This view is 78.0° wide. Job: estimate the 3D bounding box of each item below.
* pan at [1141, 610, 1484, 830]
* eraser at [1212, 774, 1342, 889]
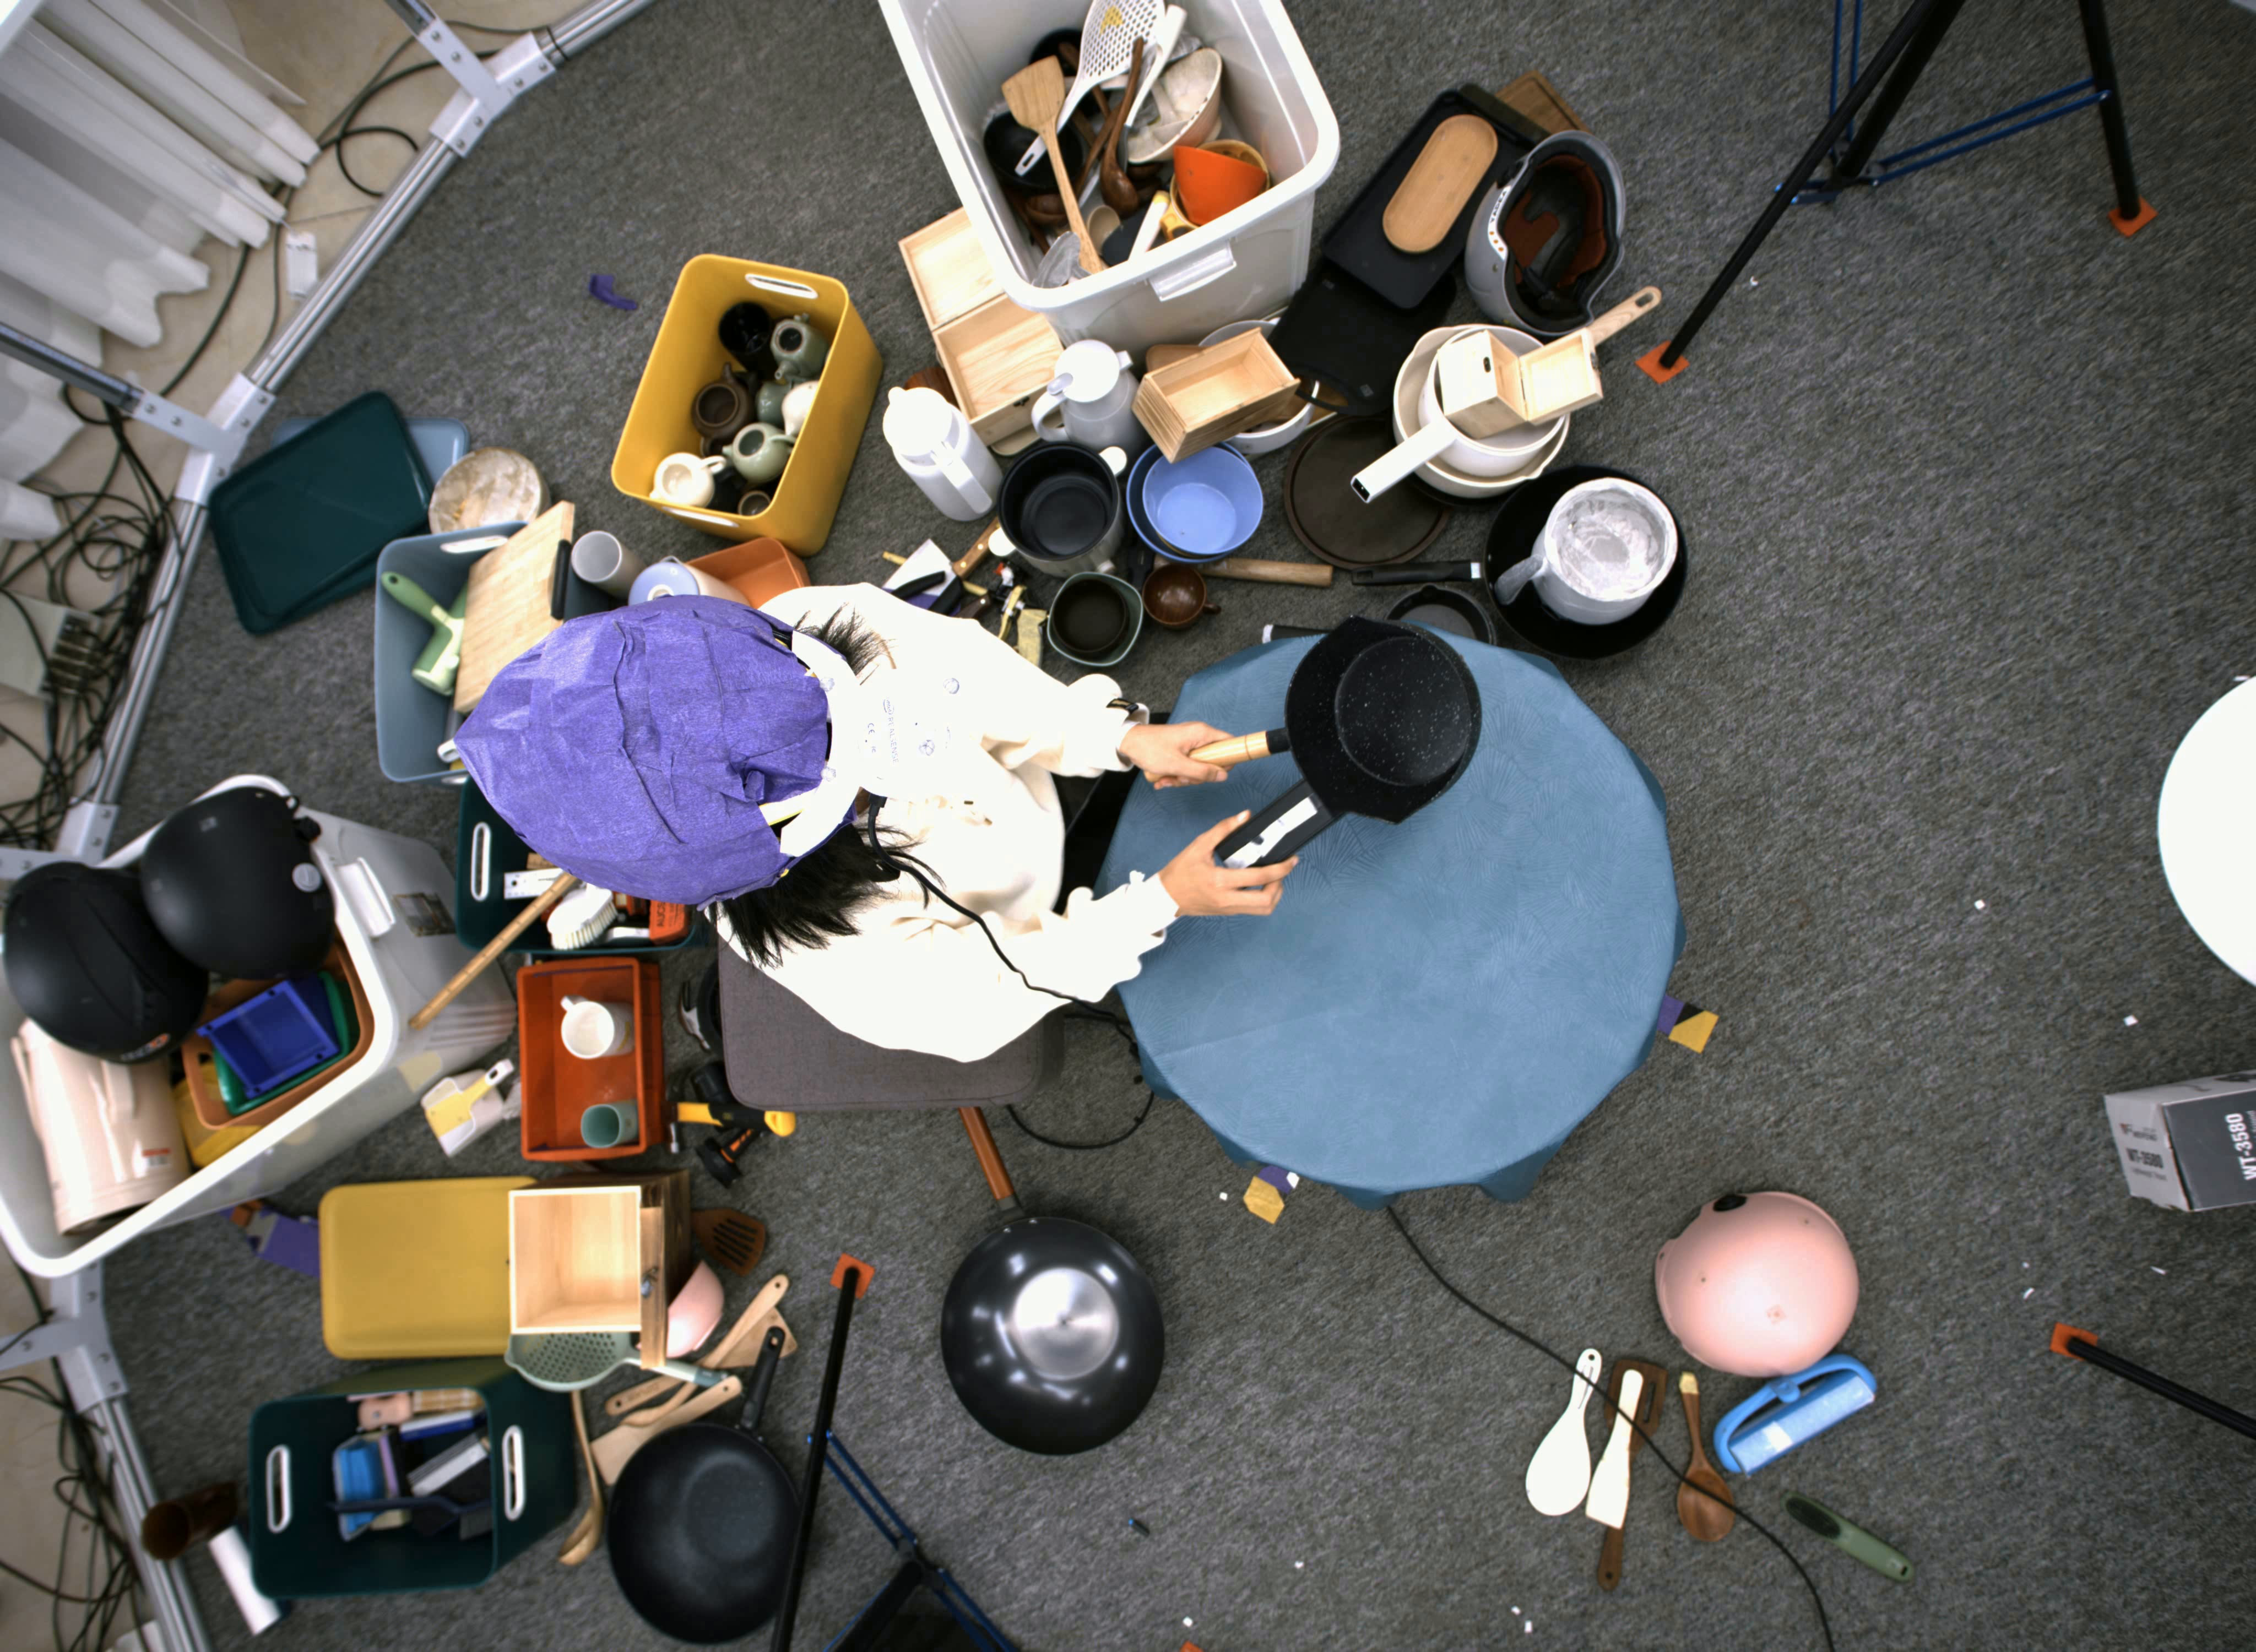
[{"bbox_3d":[0.180,-0.091,1.345,0.347,0.106,0.208,-12,96,32],"label":"pan"},{"bbox_3d":[0.141,0.004,1.320,0.128,0.030,0.053,-39,83,32],"label":"eraser"}]
